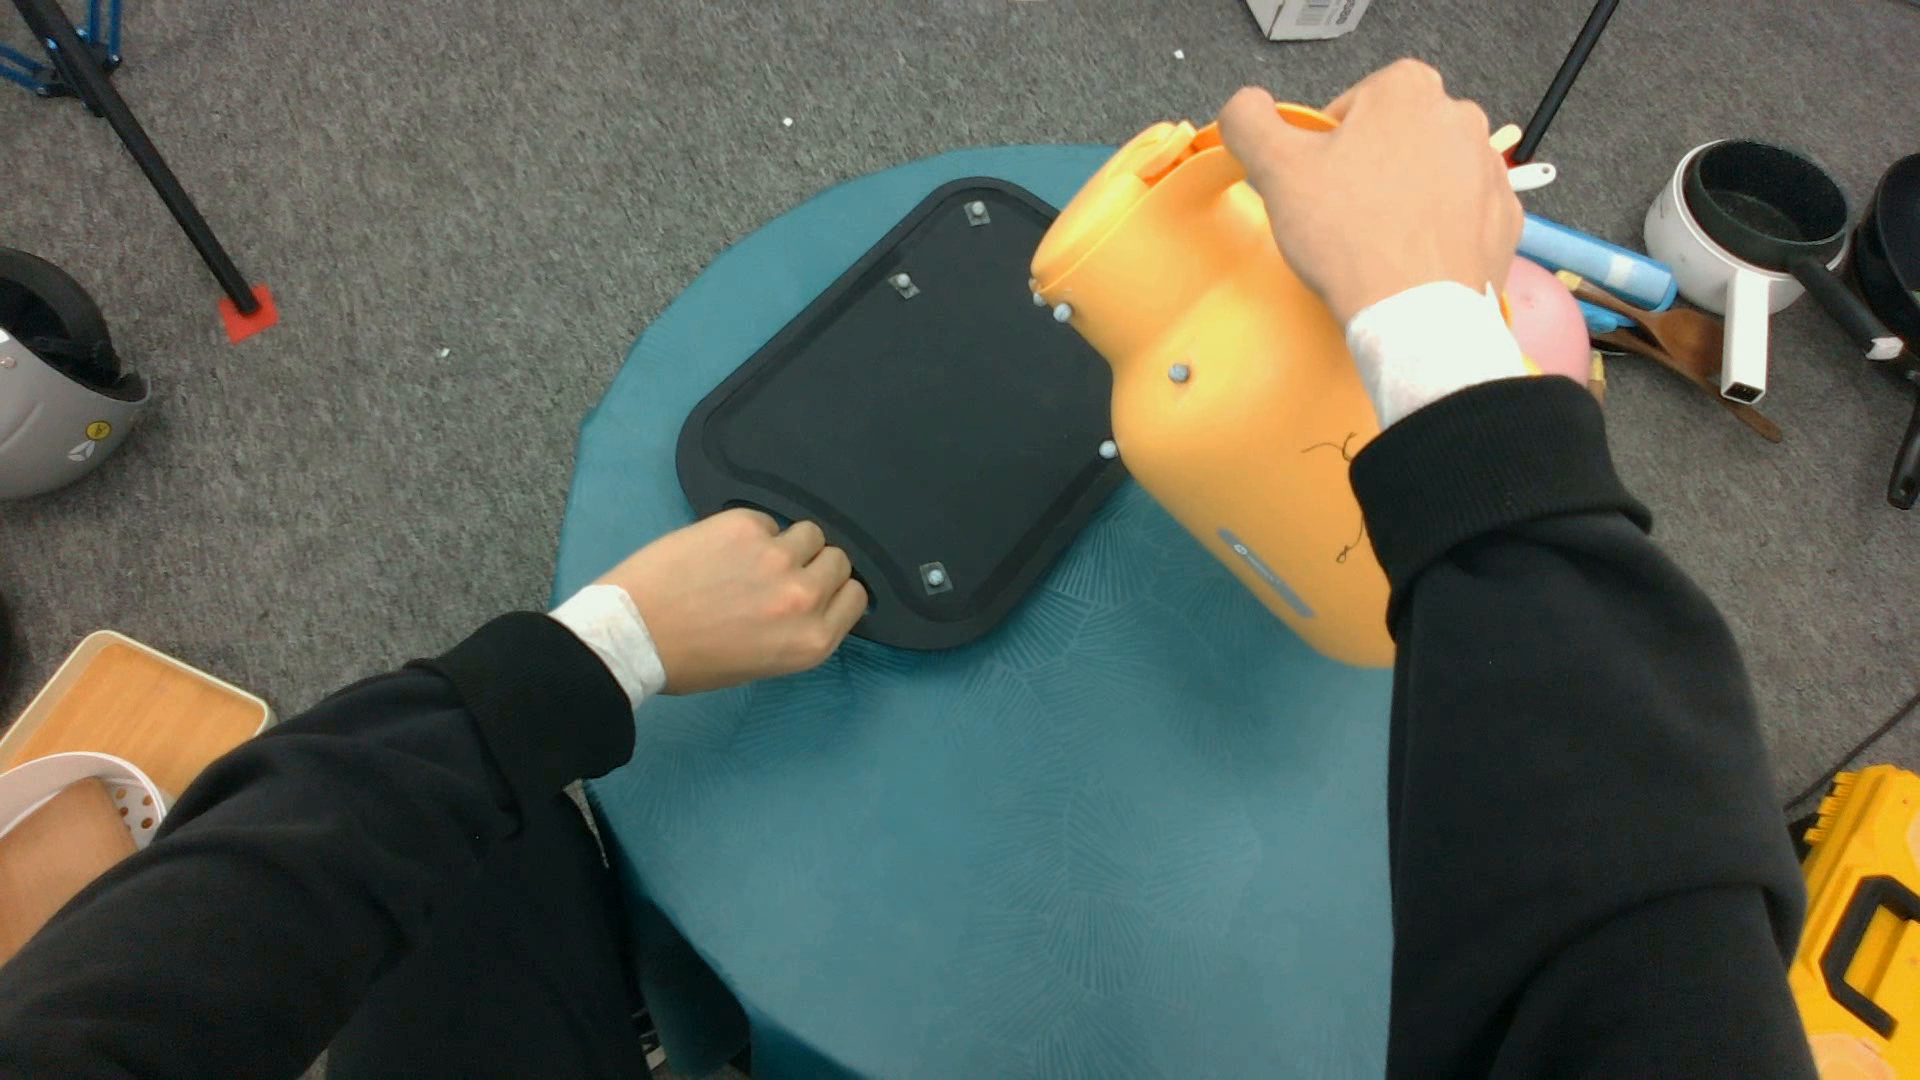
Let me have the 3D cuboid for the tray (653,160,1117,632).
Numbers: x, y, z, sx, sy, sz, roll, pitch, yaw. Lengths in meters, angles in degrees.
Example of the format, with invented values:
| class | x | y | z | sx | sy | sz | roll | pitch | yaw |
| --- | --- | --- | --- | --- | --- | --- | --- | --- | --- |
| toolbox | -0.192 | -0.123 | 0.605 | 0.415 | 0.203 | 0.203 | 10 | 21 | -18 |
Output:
| class | x | y | z | sx | sy | sz | roll | pitch | yaw |
| --- | --- | --- | --- | --- | --- | --- | --- | --- | --- |
| tray | -0.015 | -0.092 | 0.784 | 0.211 | 0.010 | 0.327 | 35 | 61 | 11 |

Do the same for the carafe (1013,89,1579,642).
| class | x | y | z | sx | sy | sz | roll | pitch | yaw |
| --- | --- | --- | --- | --- | --- | --- | --- | --- | --- |
| carafe | 0.151 | -0.084 | 0.618 | 0.260 | 0.202 | 0.164 | 39 | 69 | -11 |
